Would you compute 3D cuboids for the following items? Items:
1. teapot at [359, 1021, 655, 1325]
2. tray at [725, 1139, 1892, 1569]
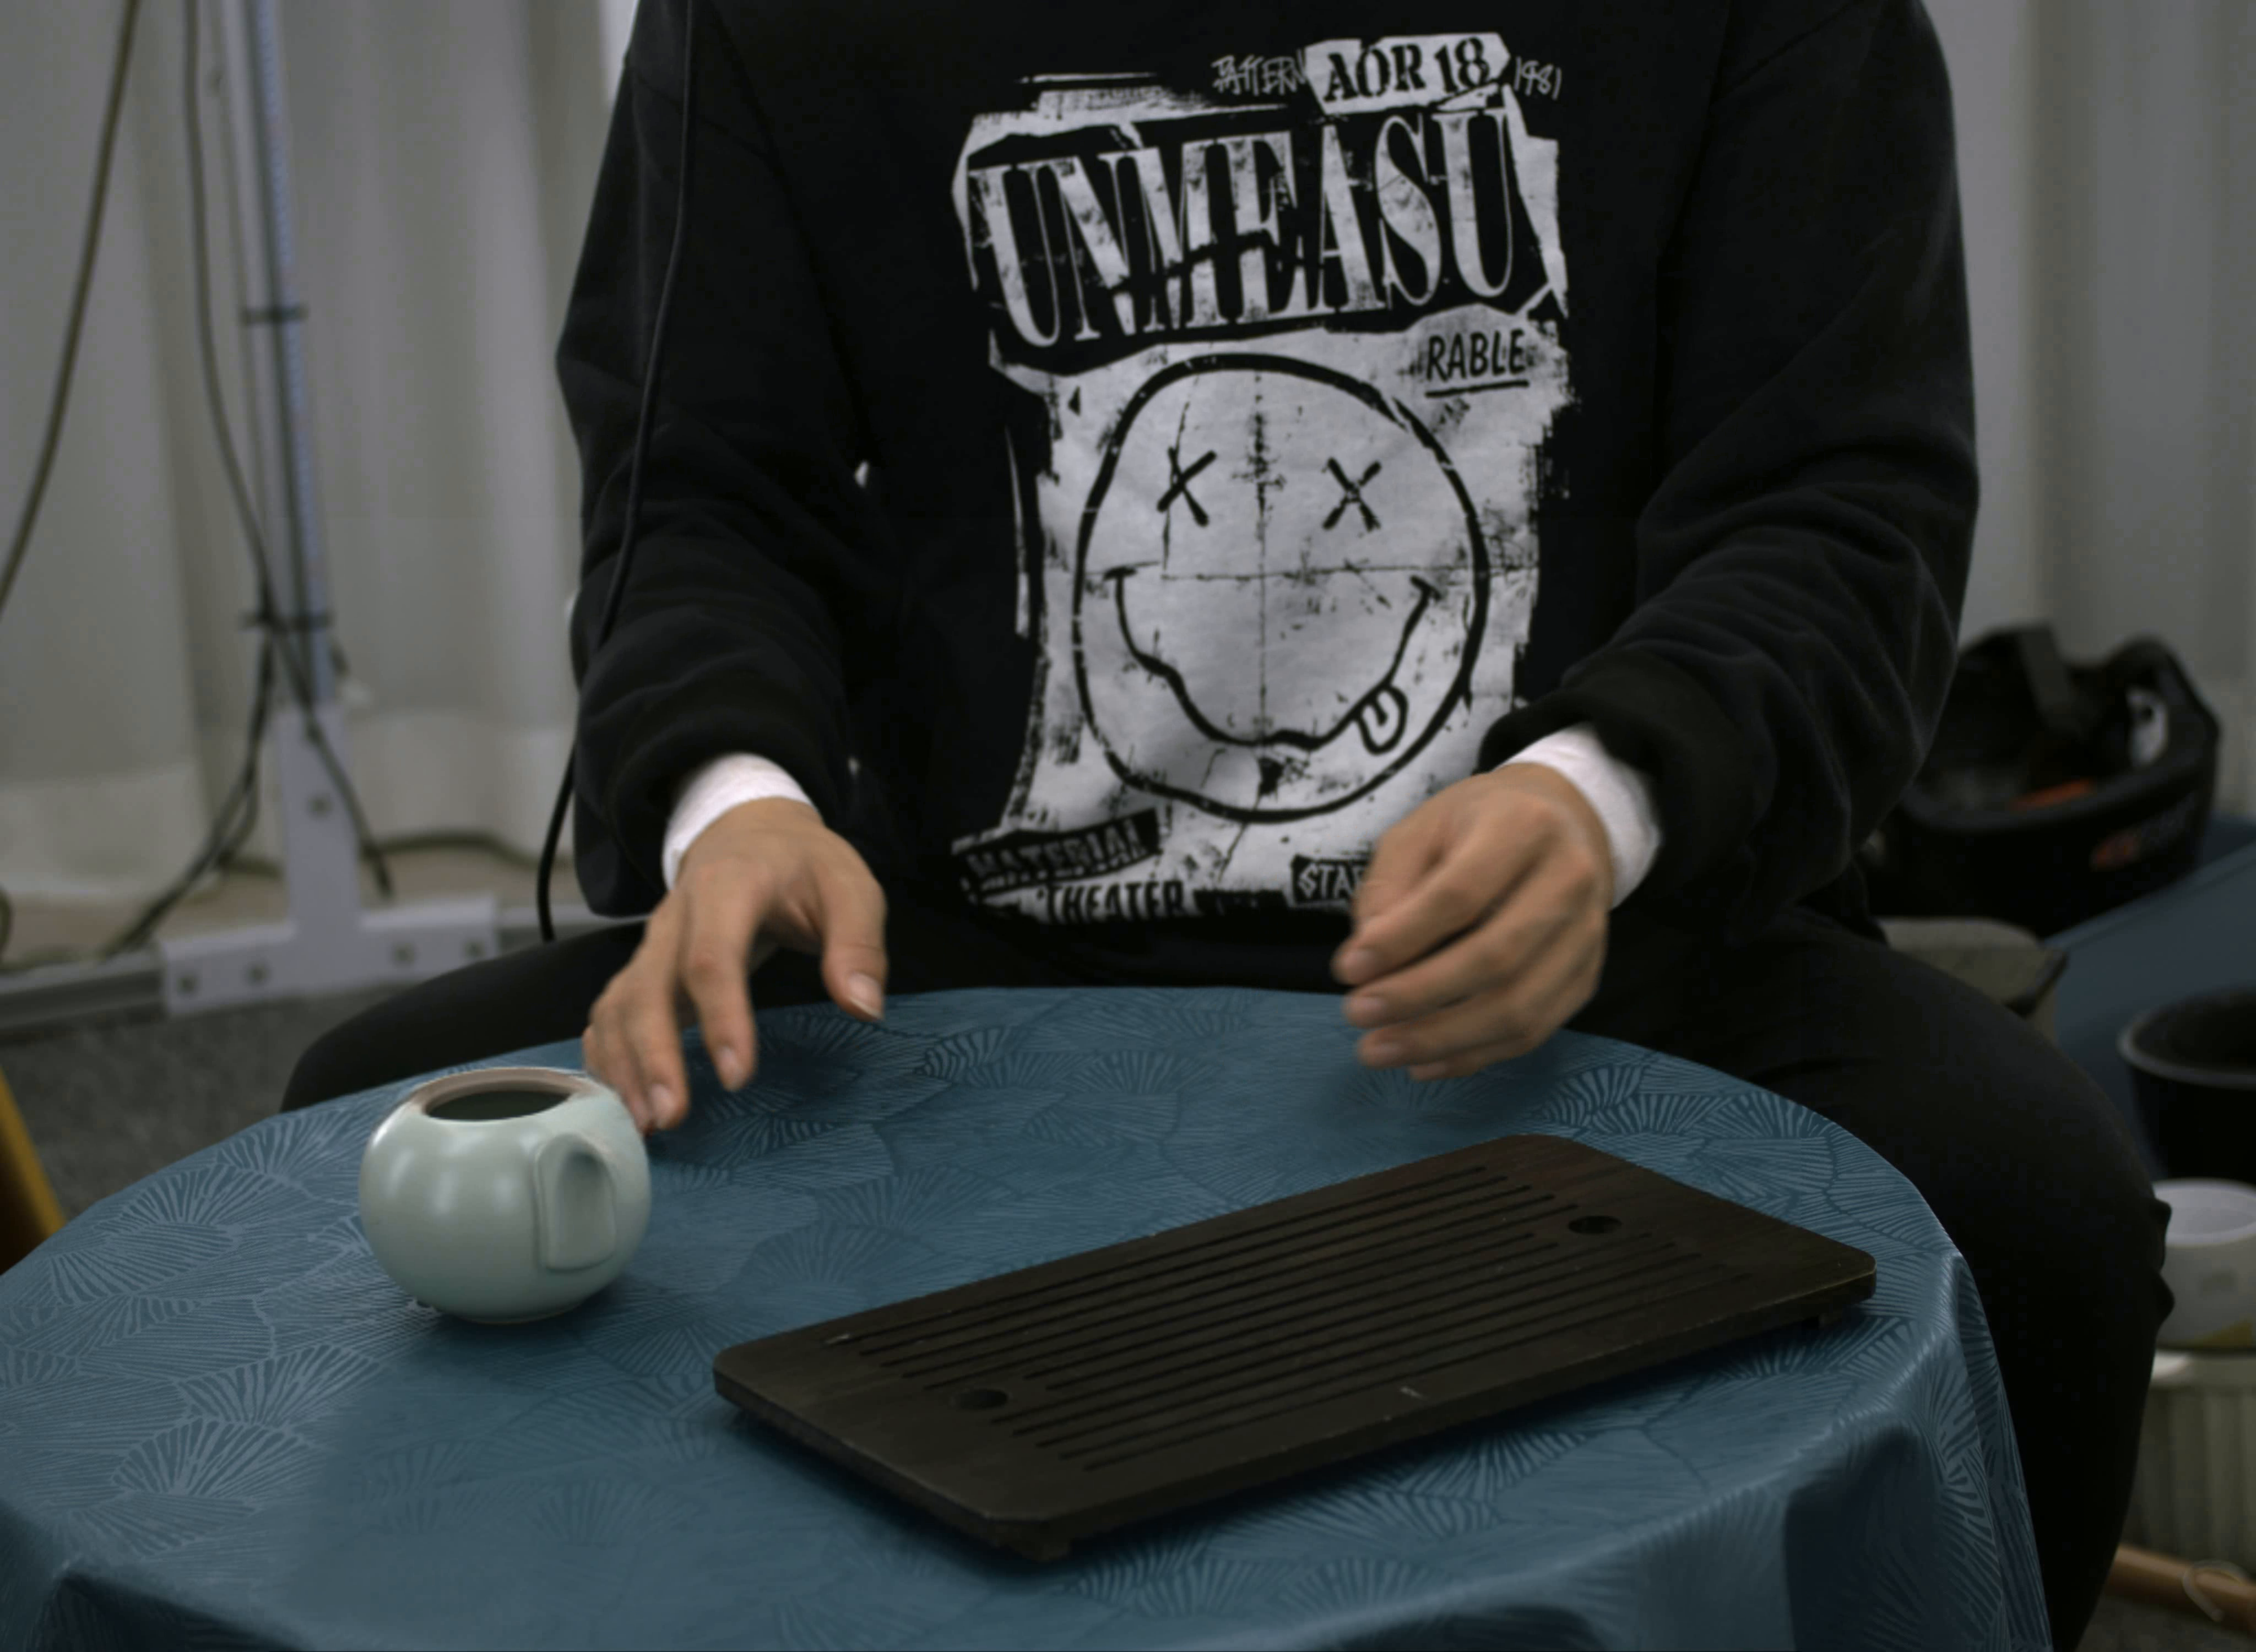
[{"bbox_3d":[-0.185,0.108,1.635,0.088,0.074,0.145,-11,18,-30],"label":"teapot"},{"bbox_3d":[0.053,0.146,1.551,0.305,0.018,0.171,-12,17,-32],"label":"tray"}]
